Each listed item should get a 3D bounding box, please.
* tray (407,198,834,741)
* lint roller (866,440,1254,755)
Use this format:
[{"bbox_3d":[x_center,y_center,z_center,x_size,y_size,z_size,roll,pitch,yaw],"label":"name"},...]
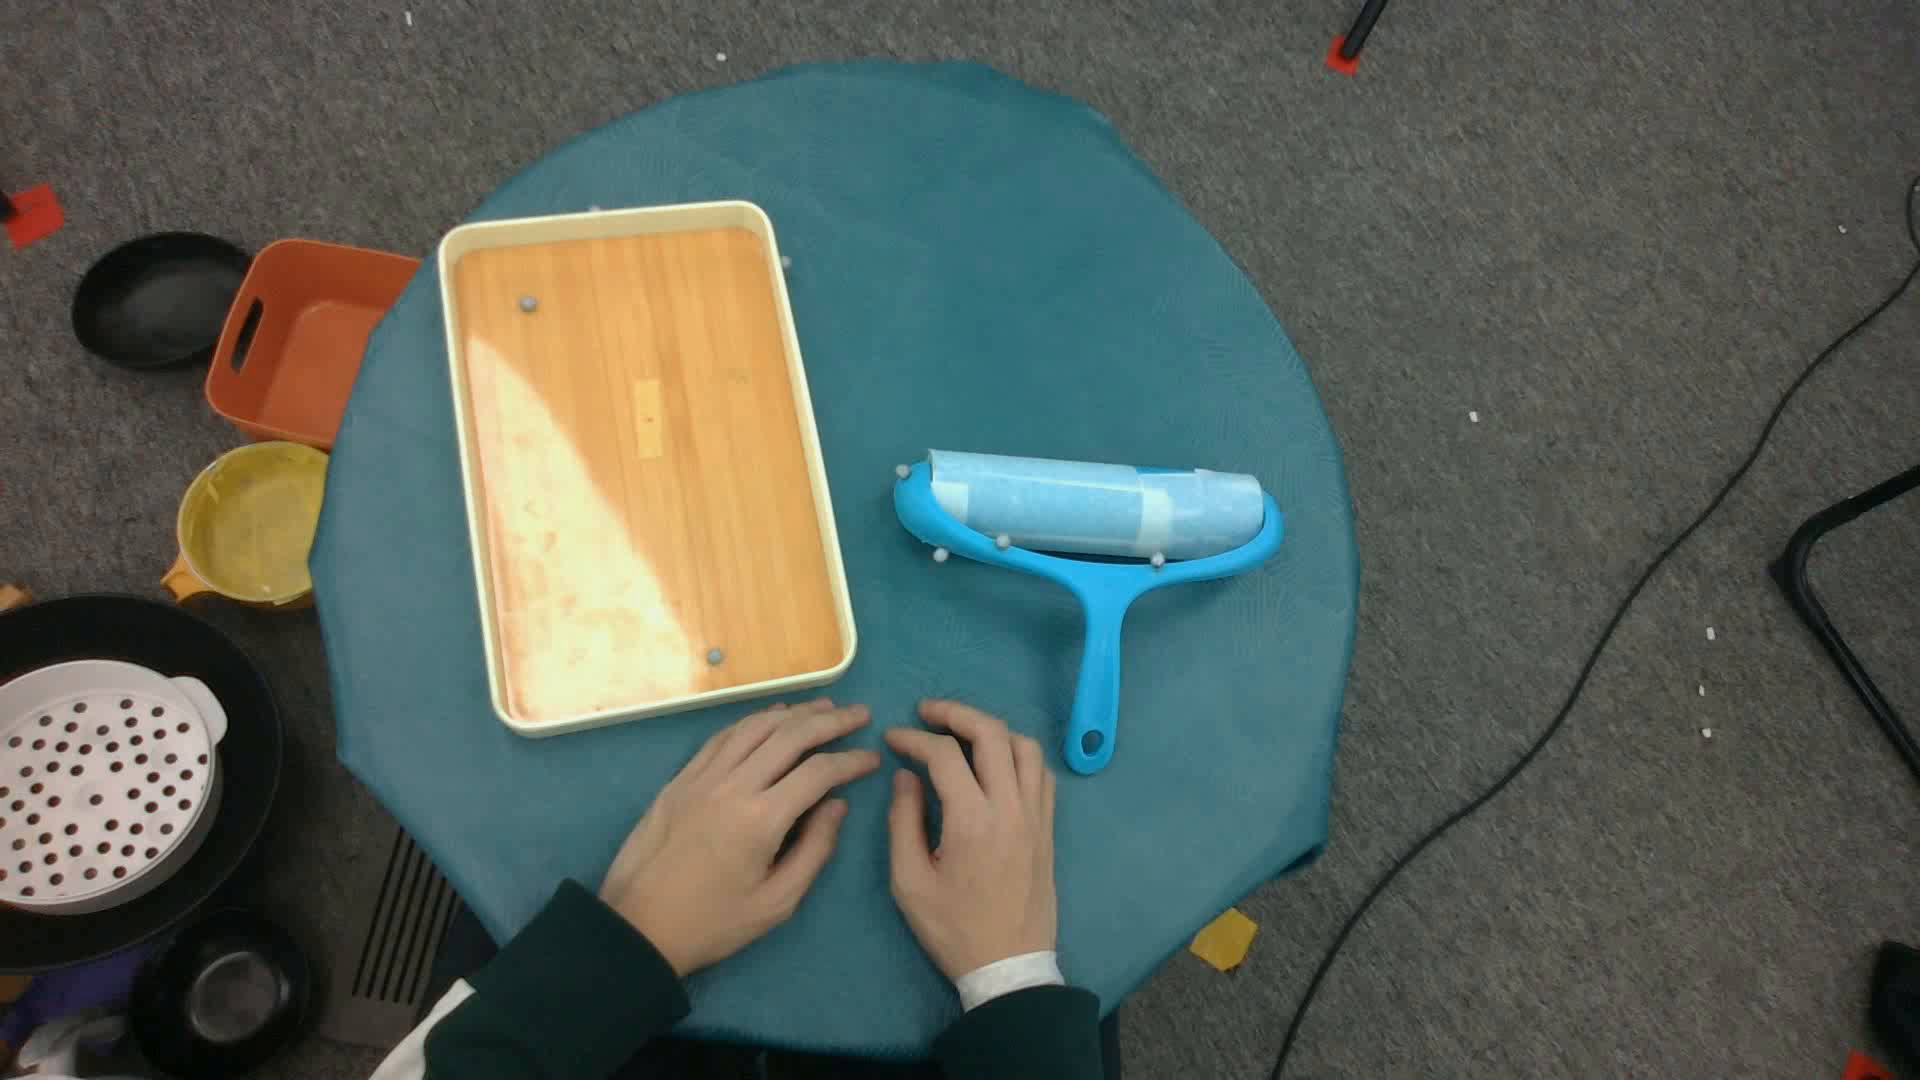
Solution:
[{"bbox_3d":[-0.193,-0.050,0.773,0.192,0.027,0.301,-10,72,-14],"label":"tray"},{"bbox_3d":[0.065,0.026,0.779,0.229,0.067,0.181,-1,69,-13],"label":"lint roller"}]
